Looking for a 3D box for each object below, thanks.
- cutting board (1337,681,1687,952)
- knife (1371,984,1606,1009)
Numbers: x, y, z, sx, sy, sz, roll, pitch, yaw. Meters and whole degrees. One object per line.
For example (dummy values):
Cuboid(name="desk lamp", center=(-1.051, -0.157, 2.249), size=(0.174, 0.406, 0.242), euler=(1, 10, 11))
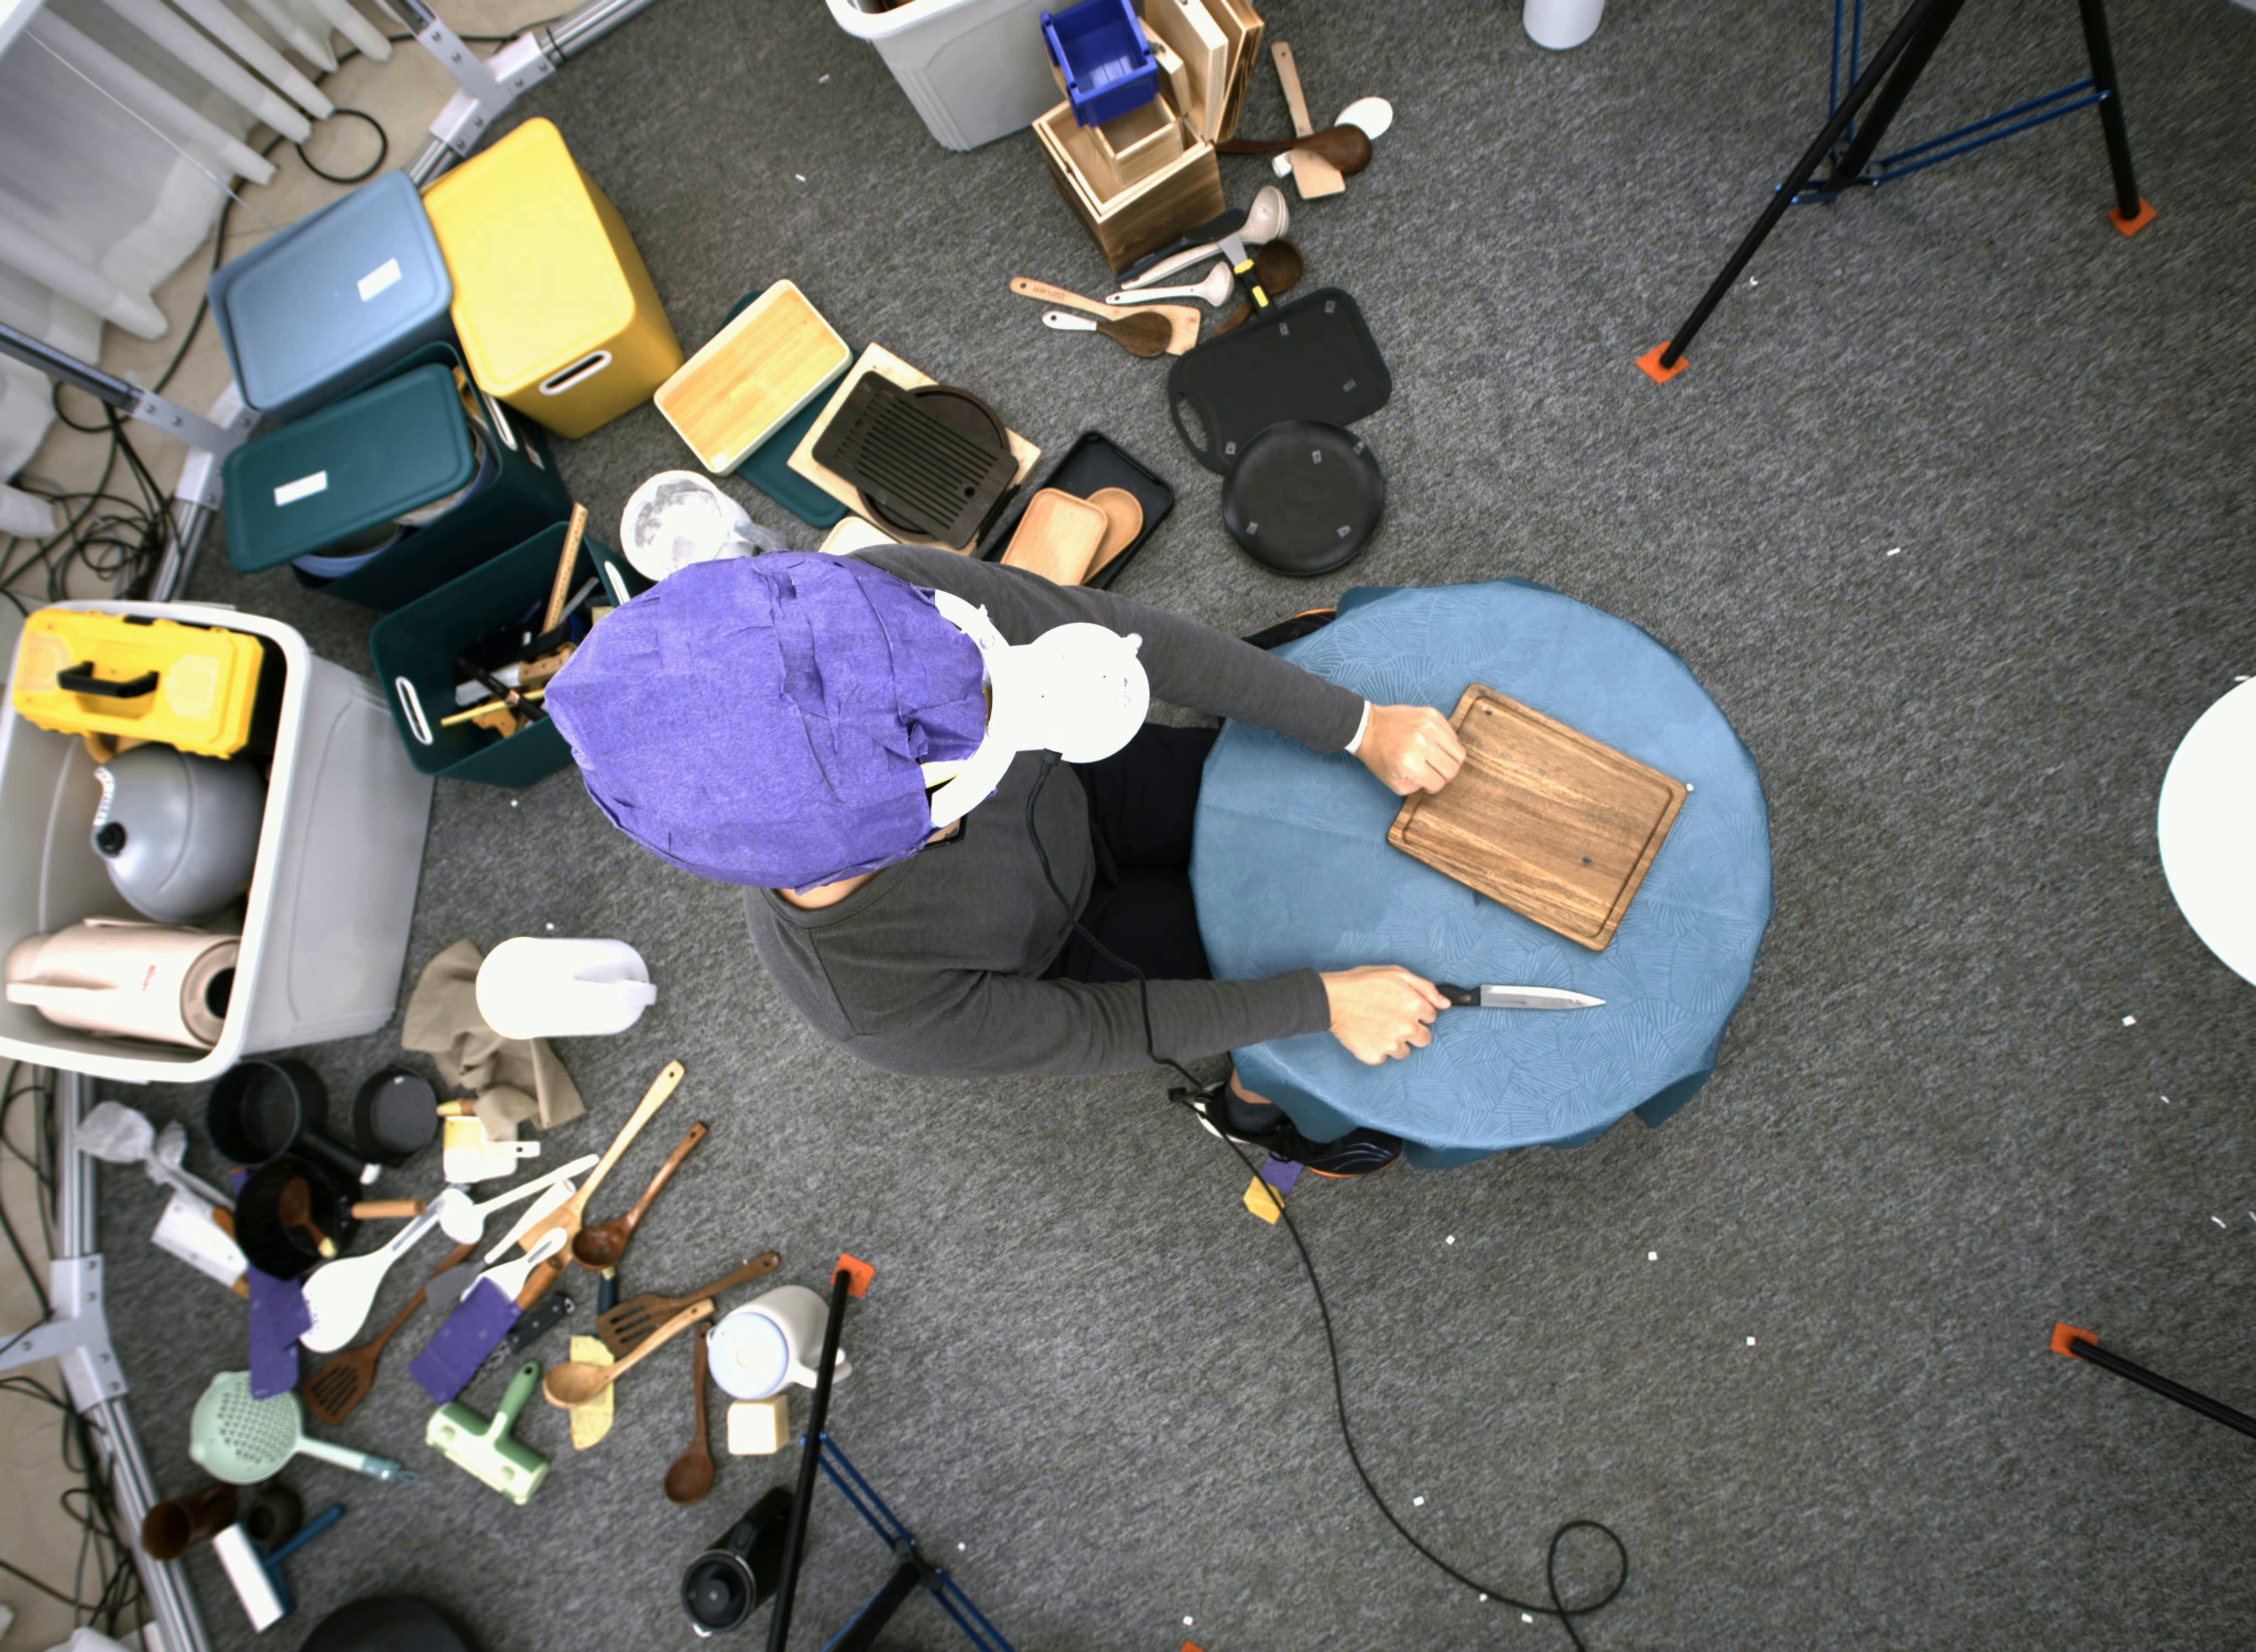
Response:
Cuboid(name="cutting board", center=(0.379, -0.037, 1.435), size=(0.351, 0.023, 0.201), euler=(28, 92, 11))
Cuboid(name="knife", center=(0.373, 0.175, 1.428), size=(0.239, 0.016, 0.024), euler=(0, 85, 10))
